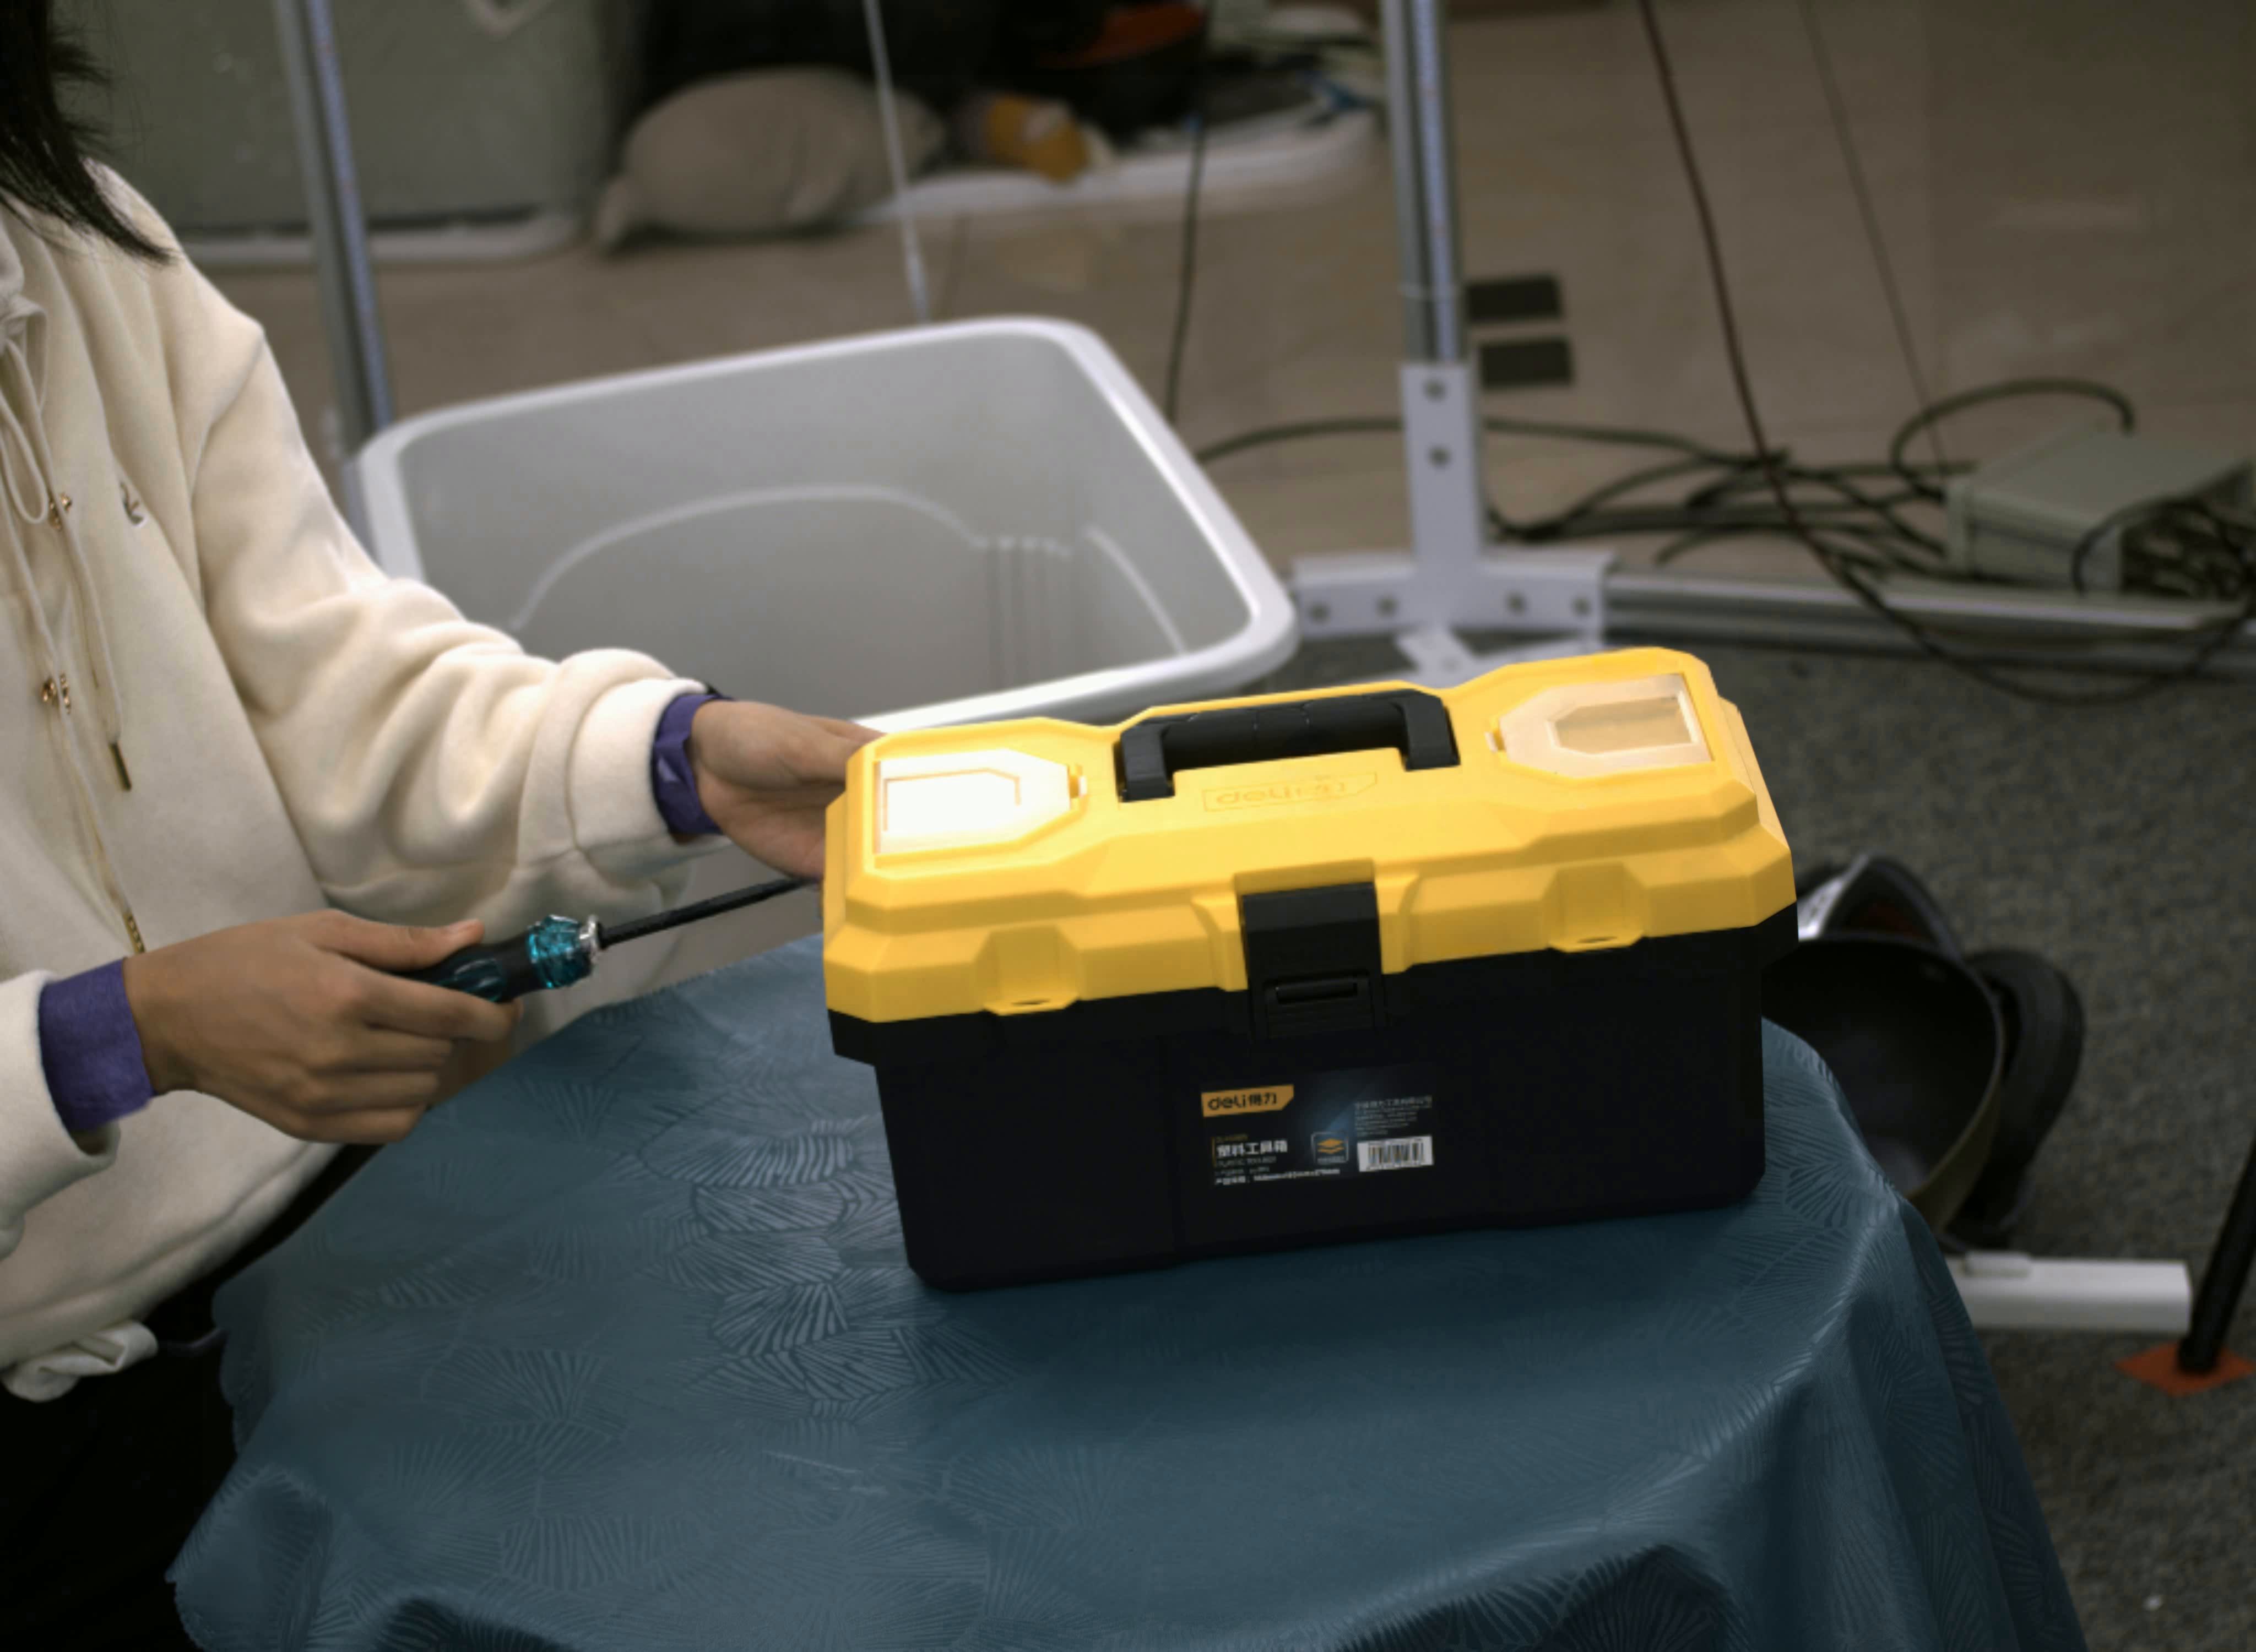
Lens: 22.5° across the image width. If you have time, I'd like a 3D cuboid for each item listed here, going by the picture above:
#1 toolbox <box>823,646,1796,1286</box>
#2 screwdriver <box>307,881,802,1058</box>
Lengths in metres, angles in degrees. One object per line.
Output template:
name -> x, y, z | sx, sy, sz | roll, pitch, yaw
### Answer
toolbox -> 0.067, 0.054, 2.107 | 0.351, 0.175, 0.178 | -6, 25, 1
screwdriver -> -0.206, 0.047, 2.043 | 0.190, 0.034, 0.033 | -17, 23, 11
